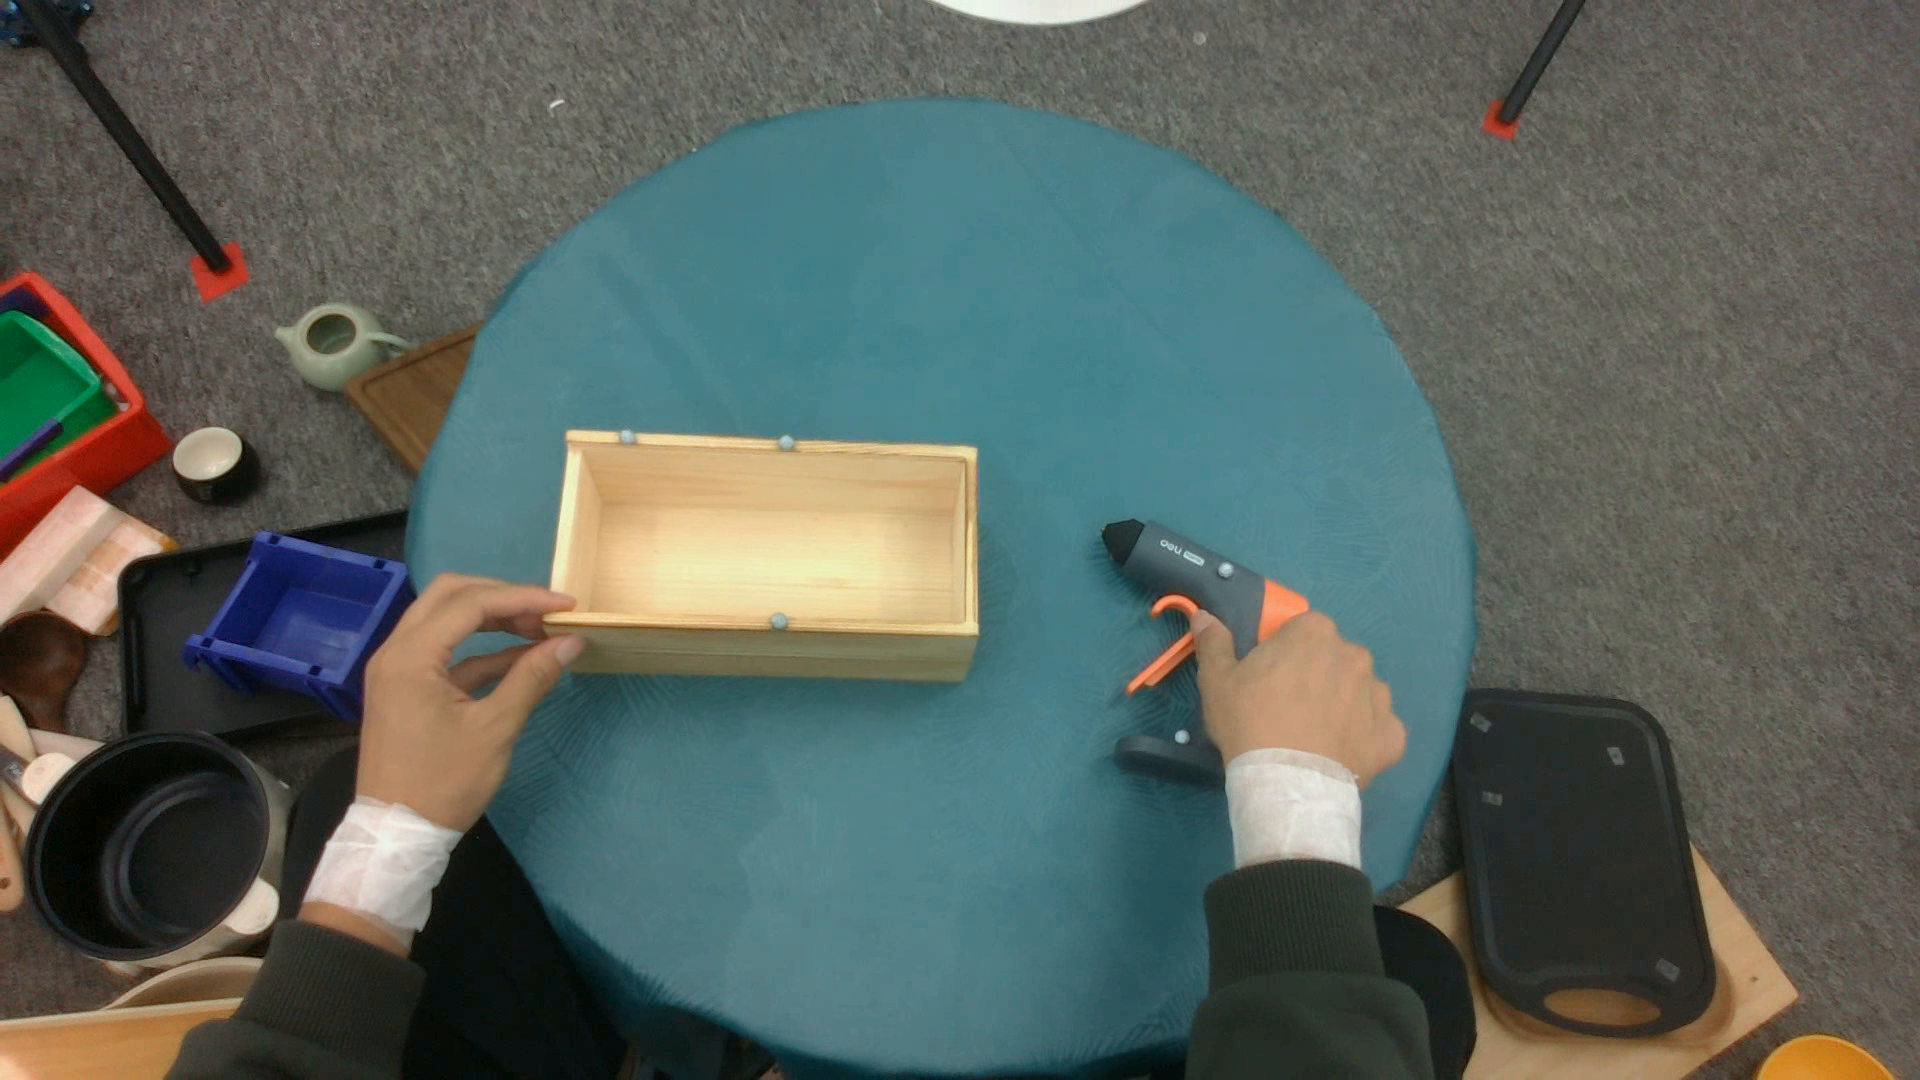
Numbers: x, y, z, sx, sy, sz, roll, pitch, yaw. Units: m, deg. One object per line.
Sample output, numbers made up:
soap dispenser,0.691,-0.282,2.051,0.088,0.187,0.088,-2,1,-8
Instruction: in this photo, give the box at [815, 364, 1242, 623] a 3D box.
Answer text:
box,0.039,-0.024,0.738,0.211,0.080,0.108,4,71,6

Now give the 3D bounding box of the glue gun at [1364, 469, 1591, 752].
glue gun,0.262,0.032,0.724,0.118,0.041,0.140,12,68,13
